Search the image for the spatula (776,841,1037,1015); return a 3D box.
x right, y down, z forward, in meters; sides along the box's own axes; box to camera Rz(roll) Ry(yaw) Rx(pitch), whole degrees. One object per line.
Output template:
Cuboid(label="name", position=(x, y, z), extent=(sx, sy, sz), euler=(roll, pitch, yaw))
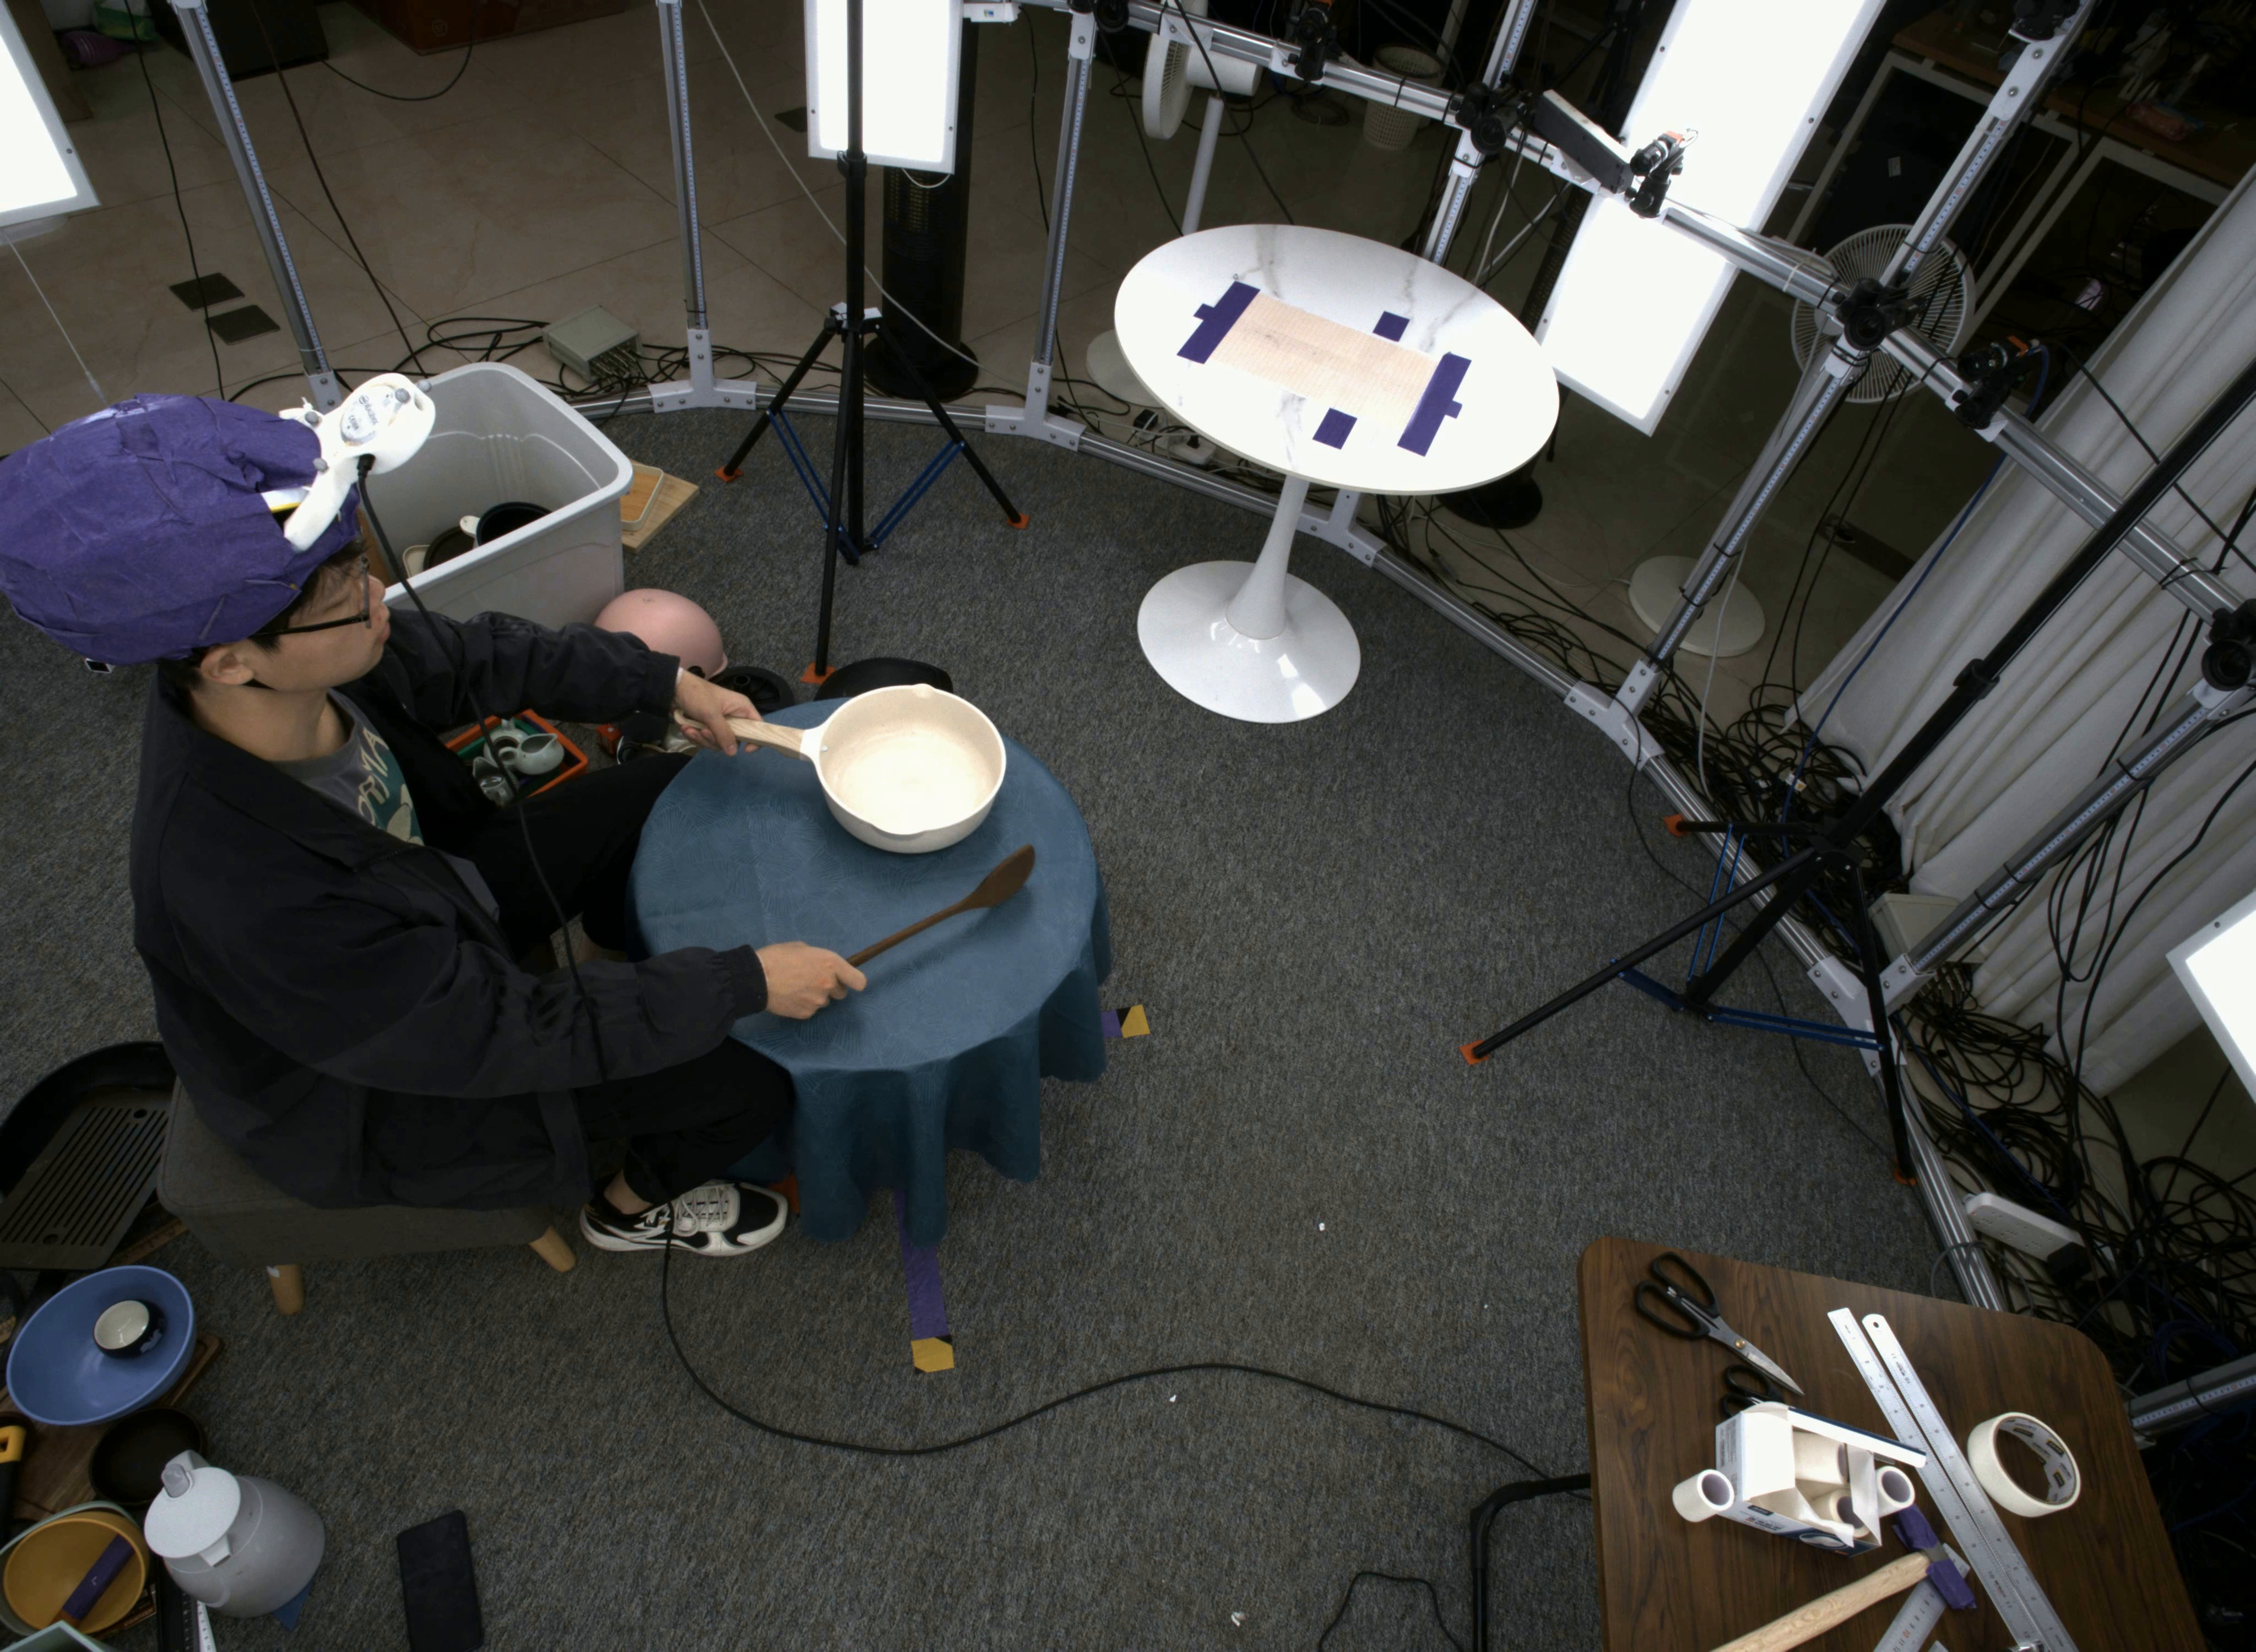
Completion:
Cuboid(label="spatula", position=(-0.267, 0.128, 1.610), extent=(0.387, 0.098, 0.015), euler=(-29, 58, -28))

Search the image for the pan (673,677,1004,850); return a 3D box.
Cuboid(label="pan", position=(-0.384, -0.092, 1.738), extent=(0.434, 0.104, 0.259), euler=(8, 54, -9))
